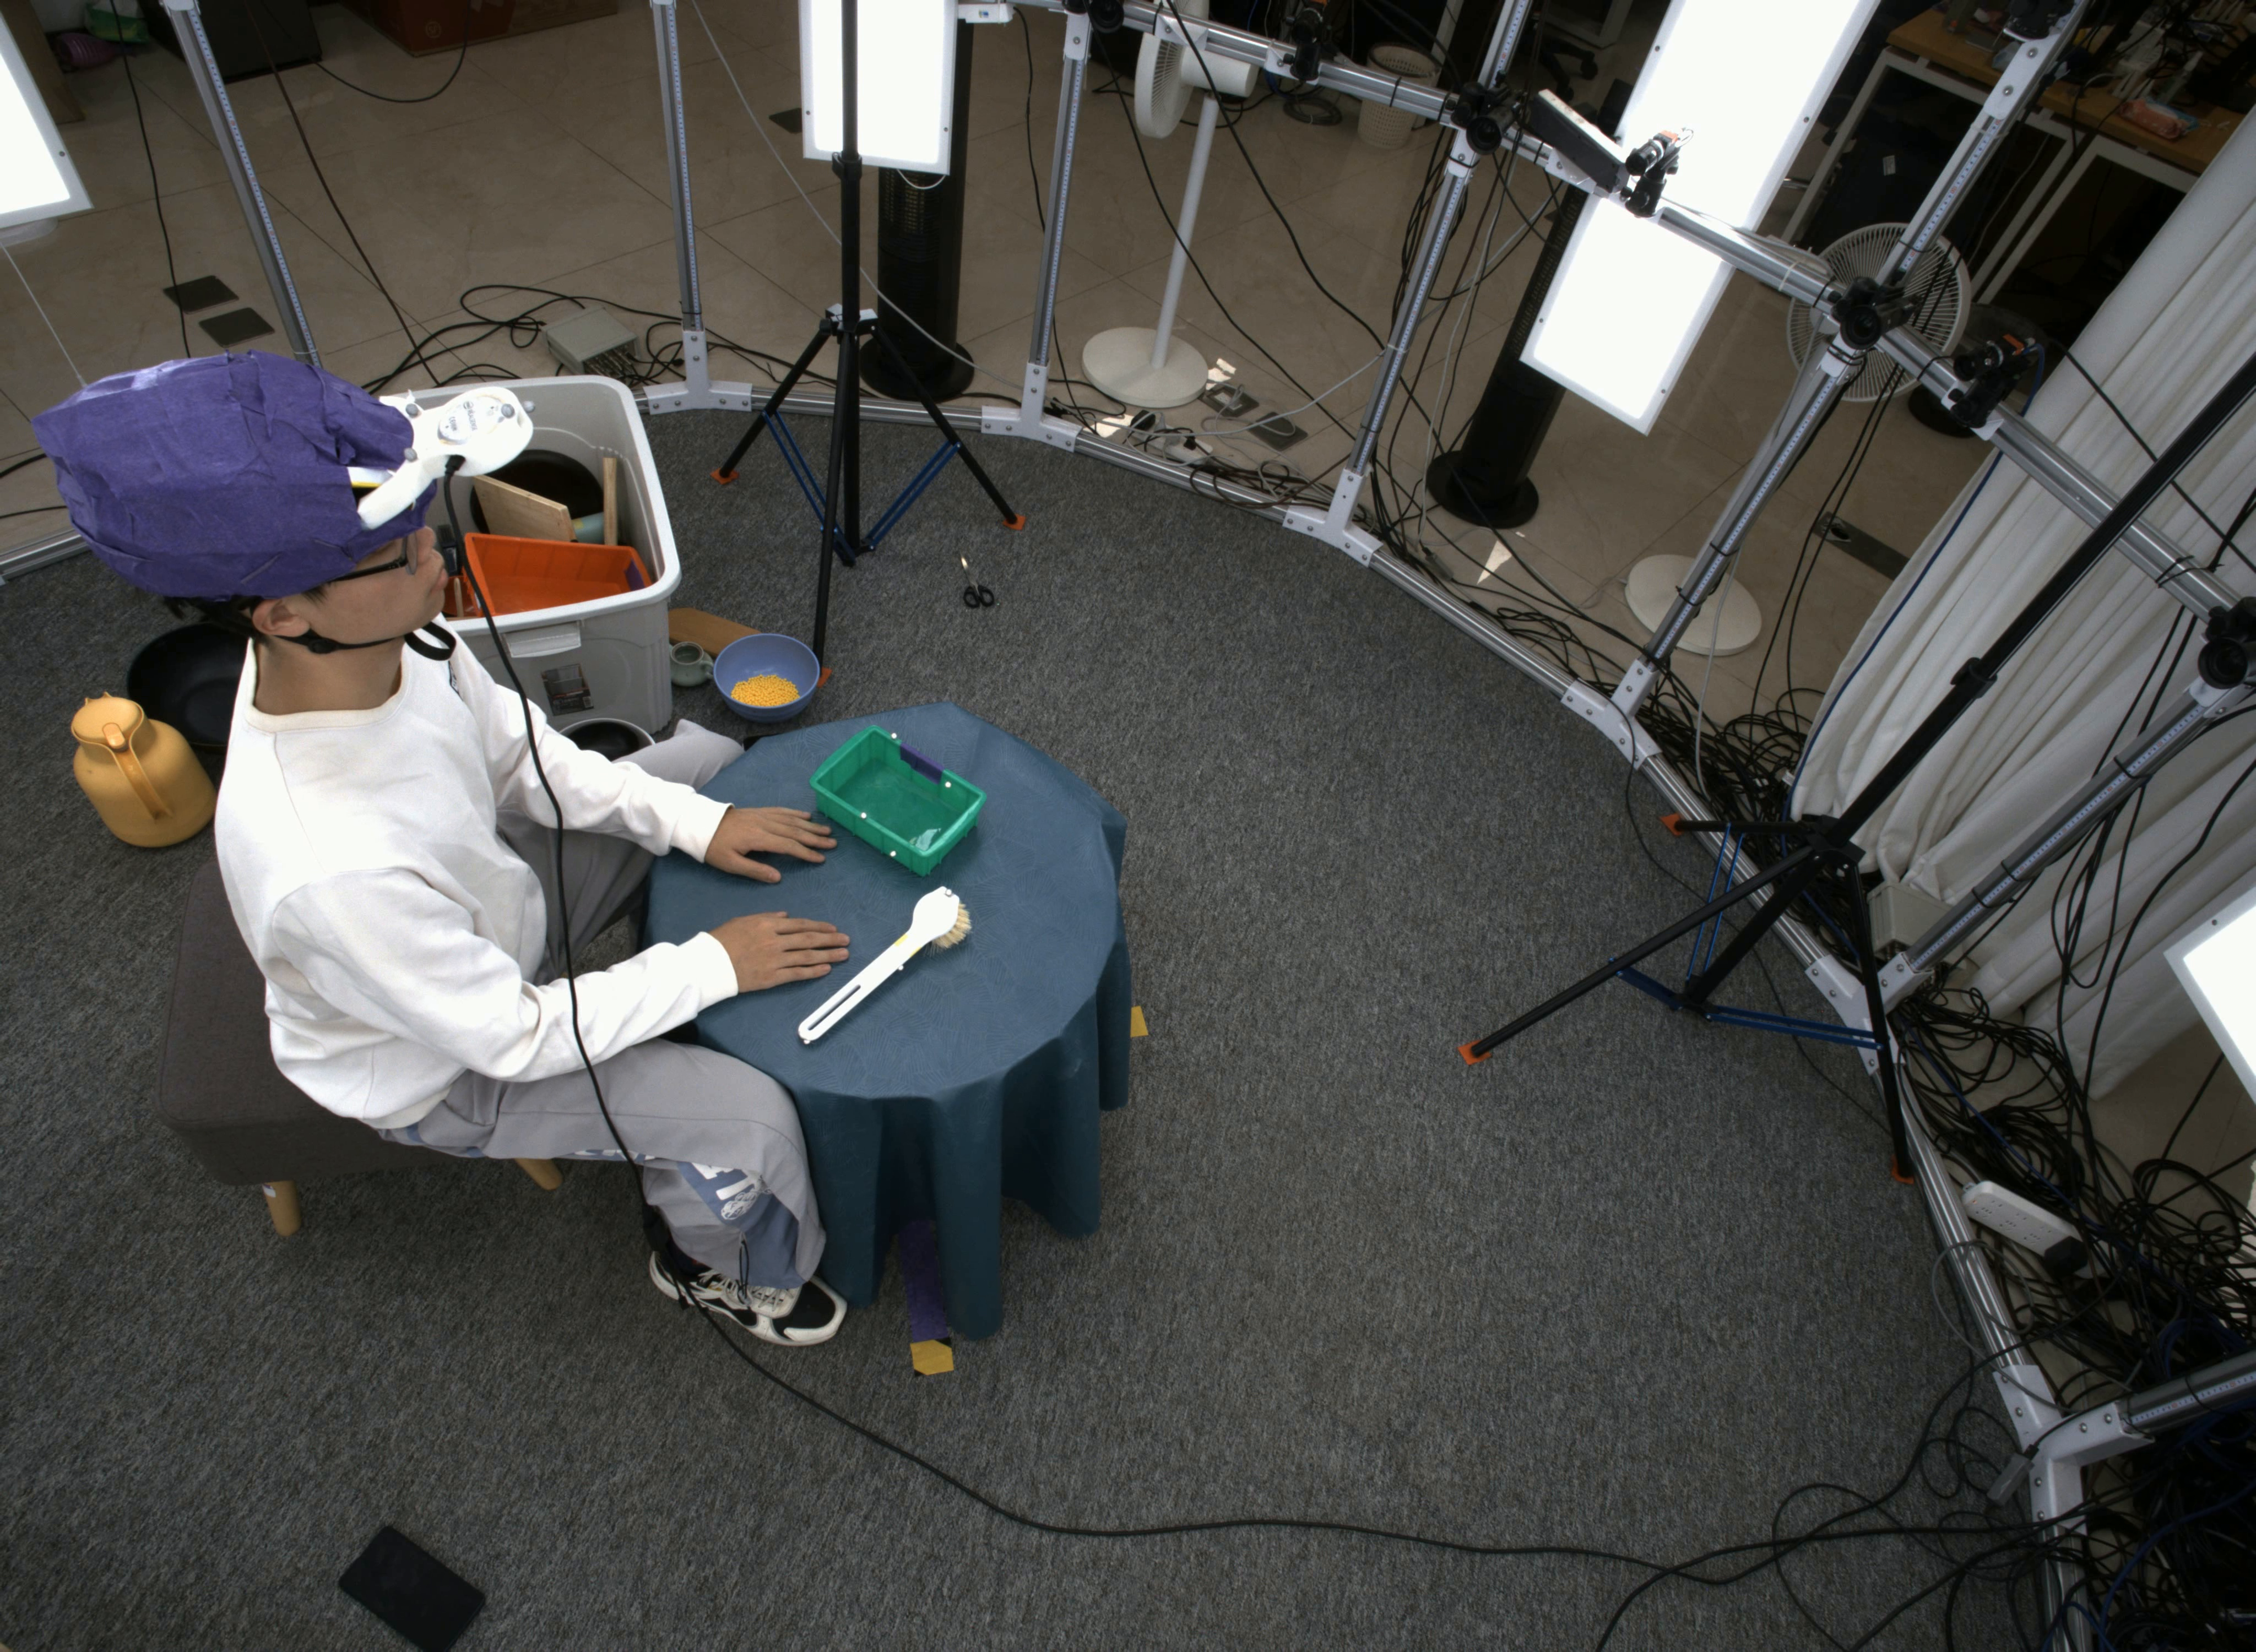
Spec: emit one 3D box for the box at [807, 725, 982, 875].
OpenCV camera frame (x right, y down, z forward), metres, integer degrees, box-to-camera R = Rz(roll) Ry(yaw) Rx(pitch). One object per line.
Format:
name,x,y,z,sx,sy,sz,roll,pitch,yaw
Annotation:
box,-0.312,-0.033,1.746,0.206,0.067,0.138,29,53,12

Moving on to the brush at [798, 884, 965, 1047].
brush,-0.305,0.181,1.621,0.066,0.058,0.266,25,65,37
